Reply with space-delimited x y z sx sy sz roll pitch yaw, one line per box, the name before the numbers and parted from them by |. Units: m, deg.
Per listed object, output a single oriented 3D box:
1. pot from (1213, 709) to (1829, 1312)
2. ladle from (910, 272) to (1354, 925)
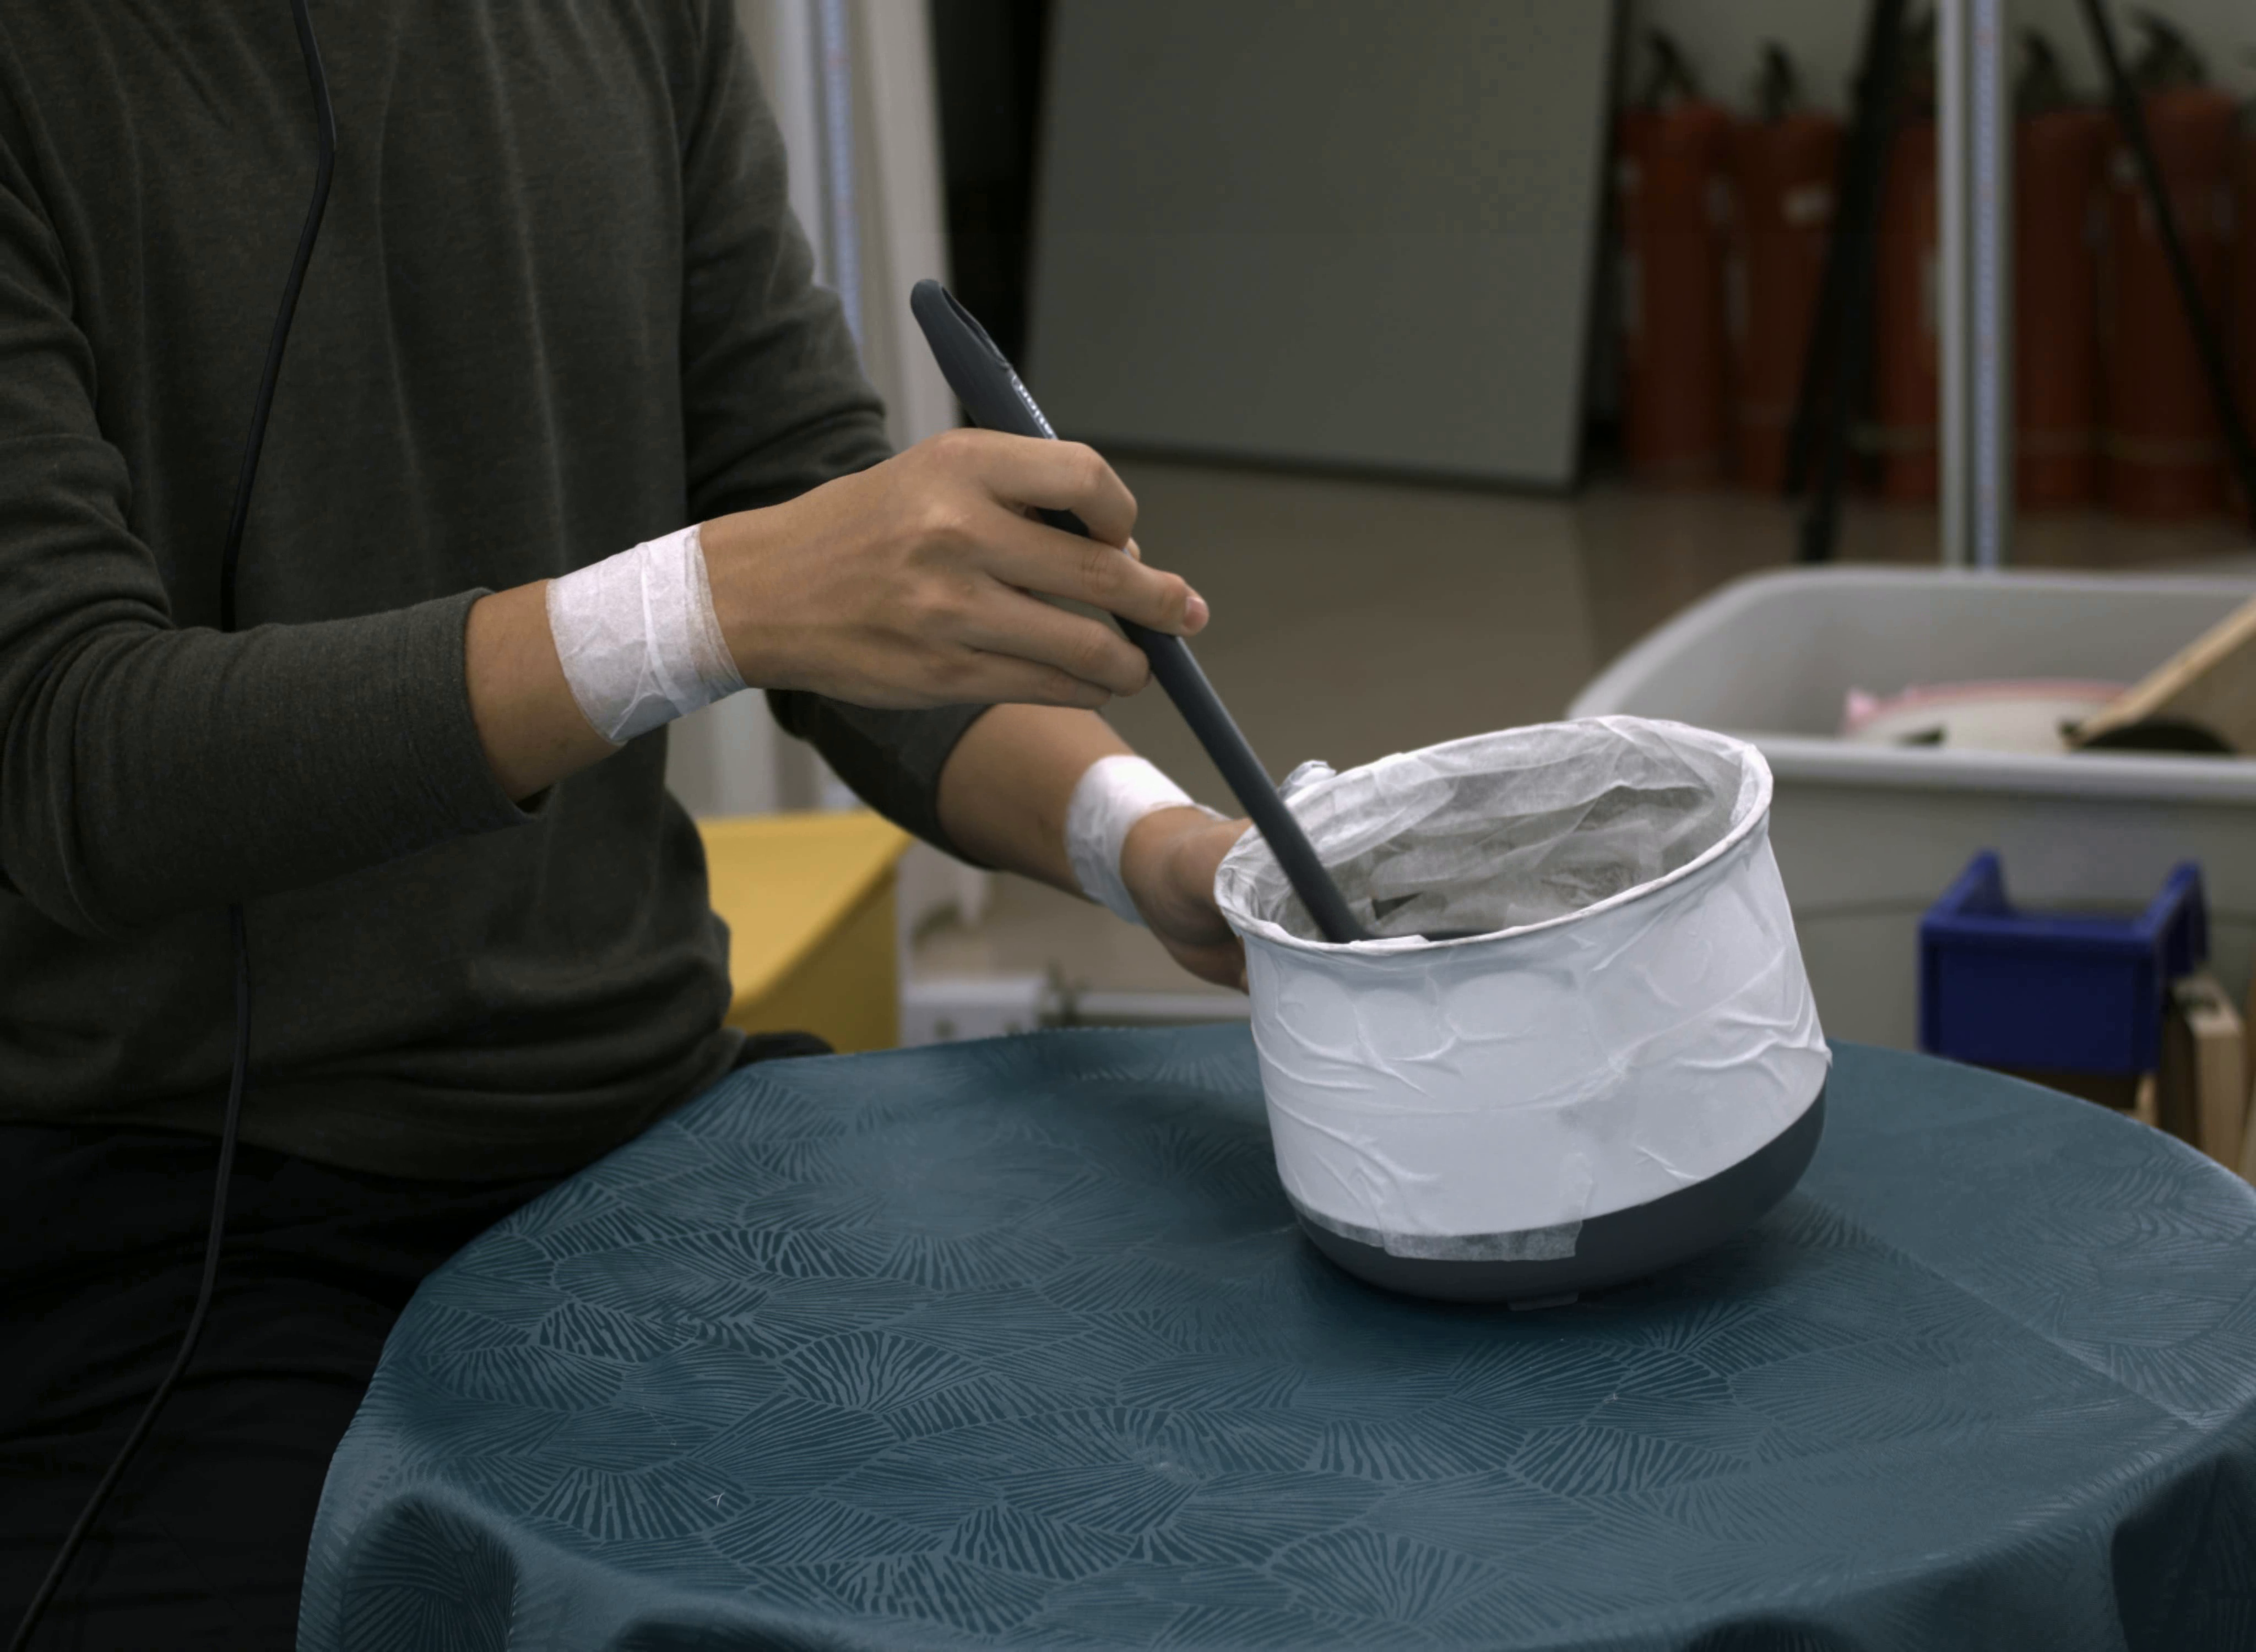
pot | 0.110 0.053 1.694 0.175 0.137 0.236 -24 21 -28
ladle | 0.040 -0.048 1.650 0.064 0.314 0.086 -31 11 12
